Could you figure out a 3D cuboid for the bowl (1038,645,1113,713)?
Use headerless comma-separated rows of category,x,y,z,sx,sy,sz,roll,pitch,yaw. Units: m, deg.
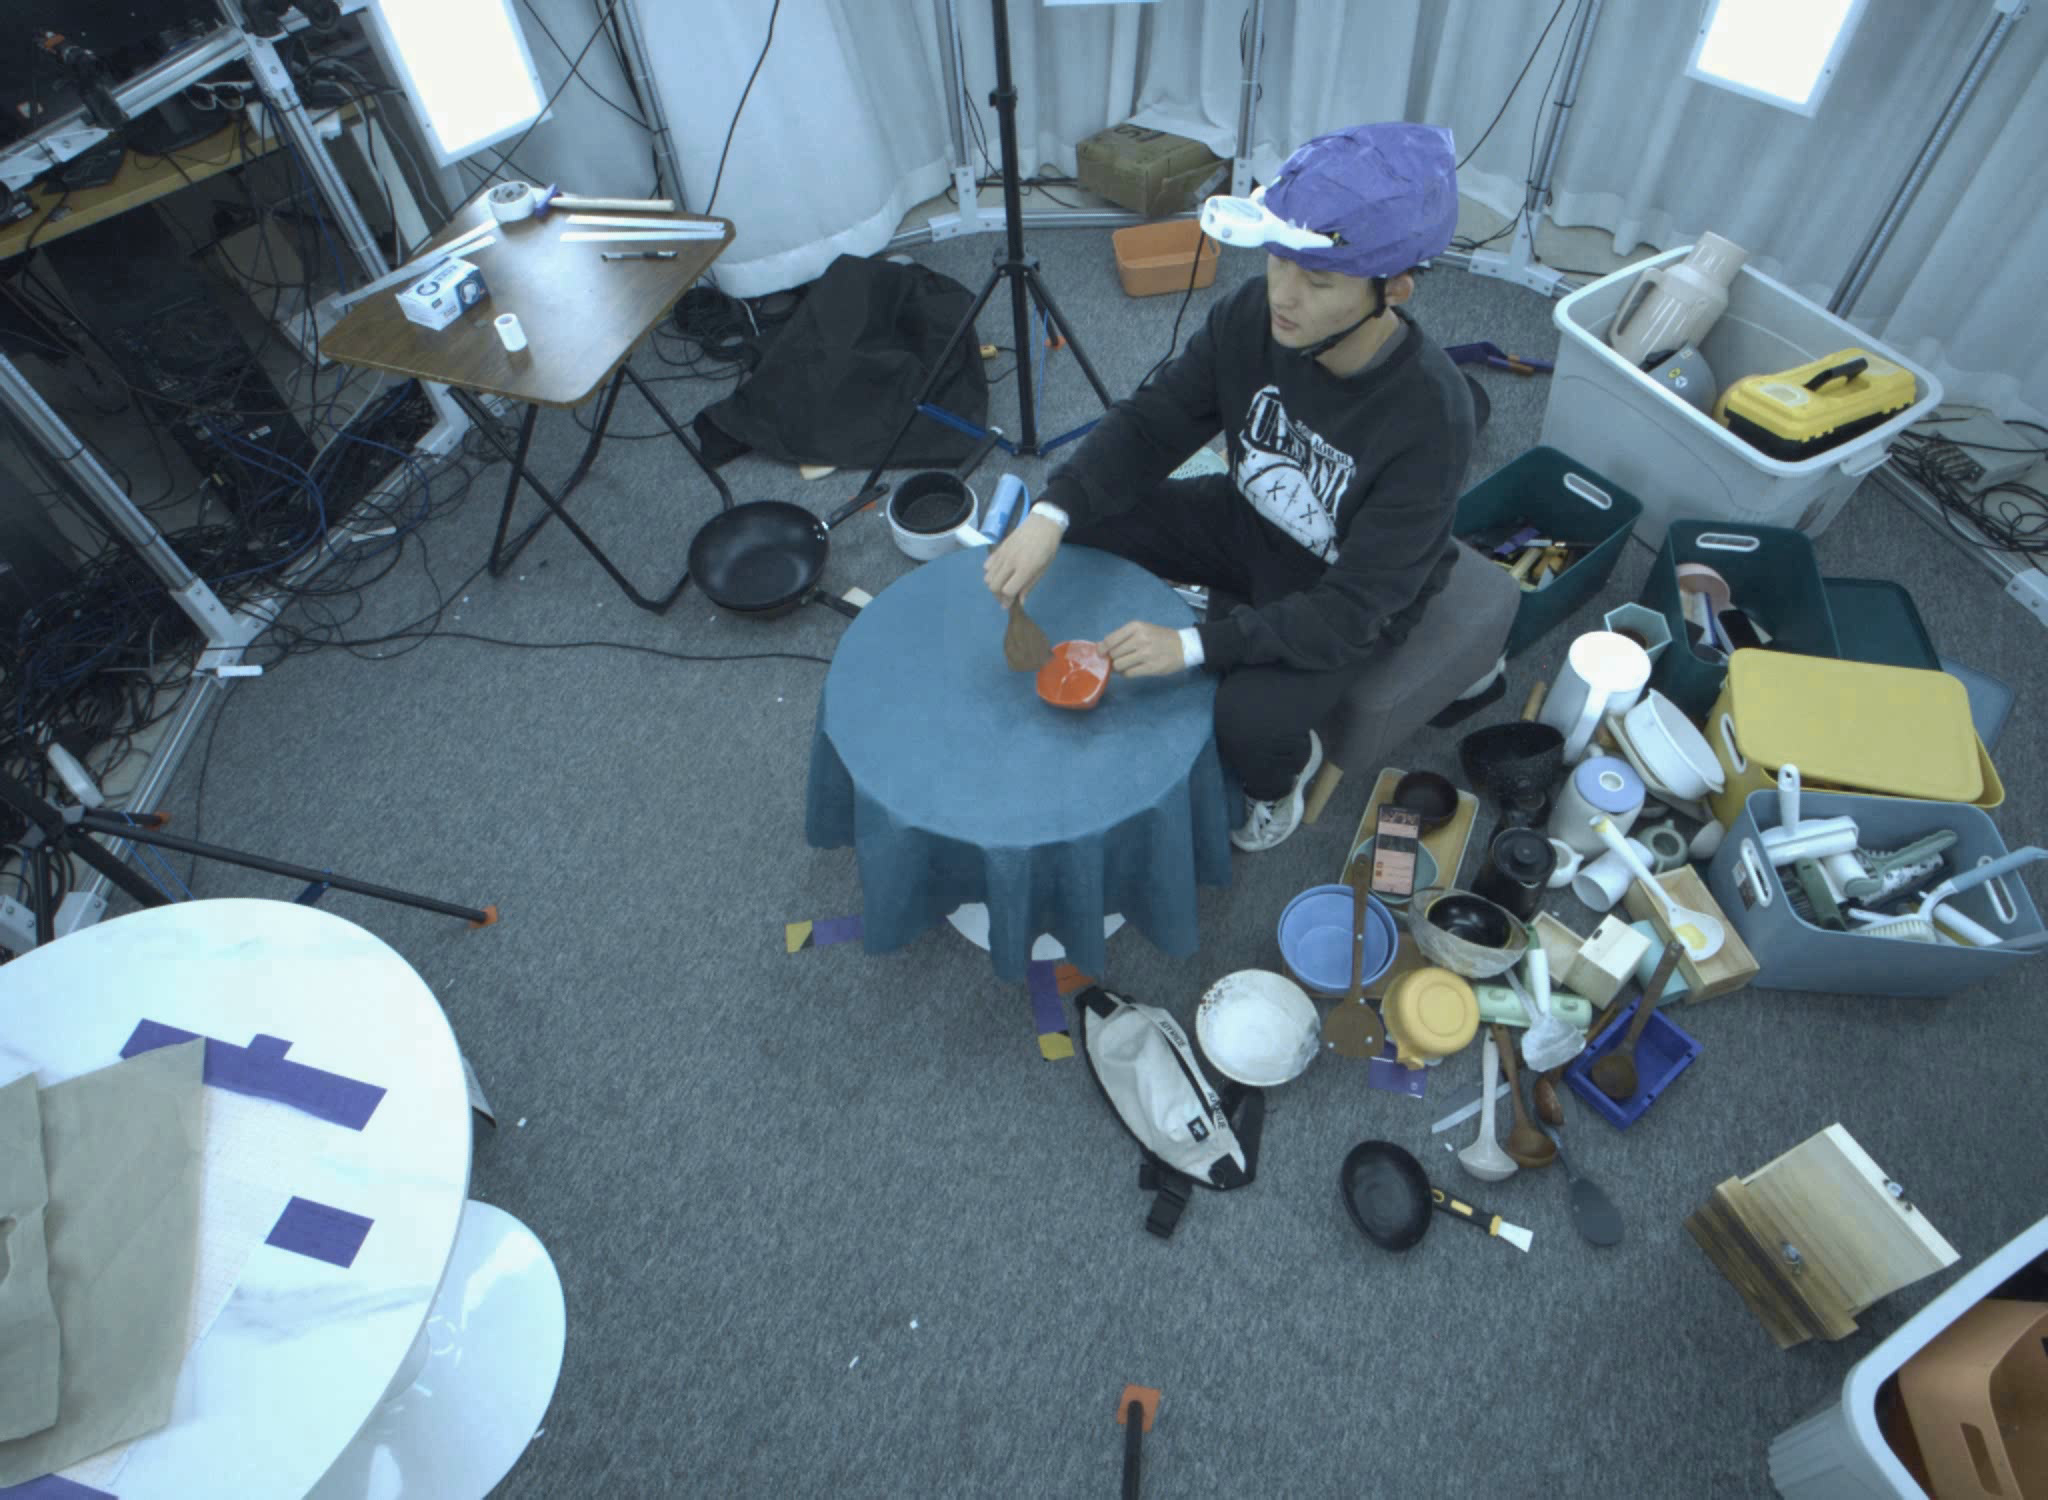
bowl,0.083,-0.097,1.822,0.117,0.052,0.118,-10,56,17

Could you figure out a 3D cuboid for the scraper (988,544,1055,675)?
scraper,-0.016,-0.209,1.814,0.077,0.011,0.210,-11,77,-19
